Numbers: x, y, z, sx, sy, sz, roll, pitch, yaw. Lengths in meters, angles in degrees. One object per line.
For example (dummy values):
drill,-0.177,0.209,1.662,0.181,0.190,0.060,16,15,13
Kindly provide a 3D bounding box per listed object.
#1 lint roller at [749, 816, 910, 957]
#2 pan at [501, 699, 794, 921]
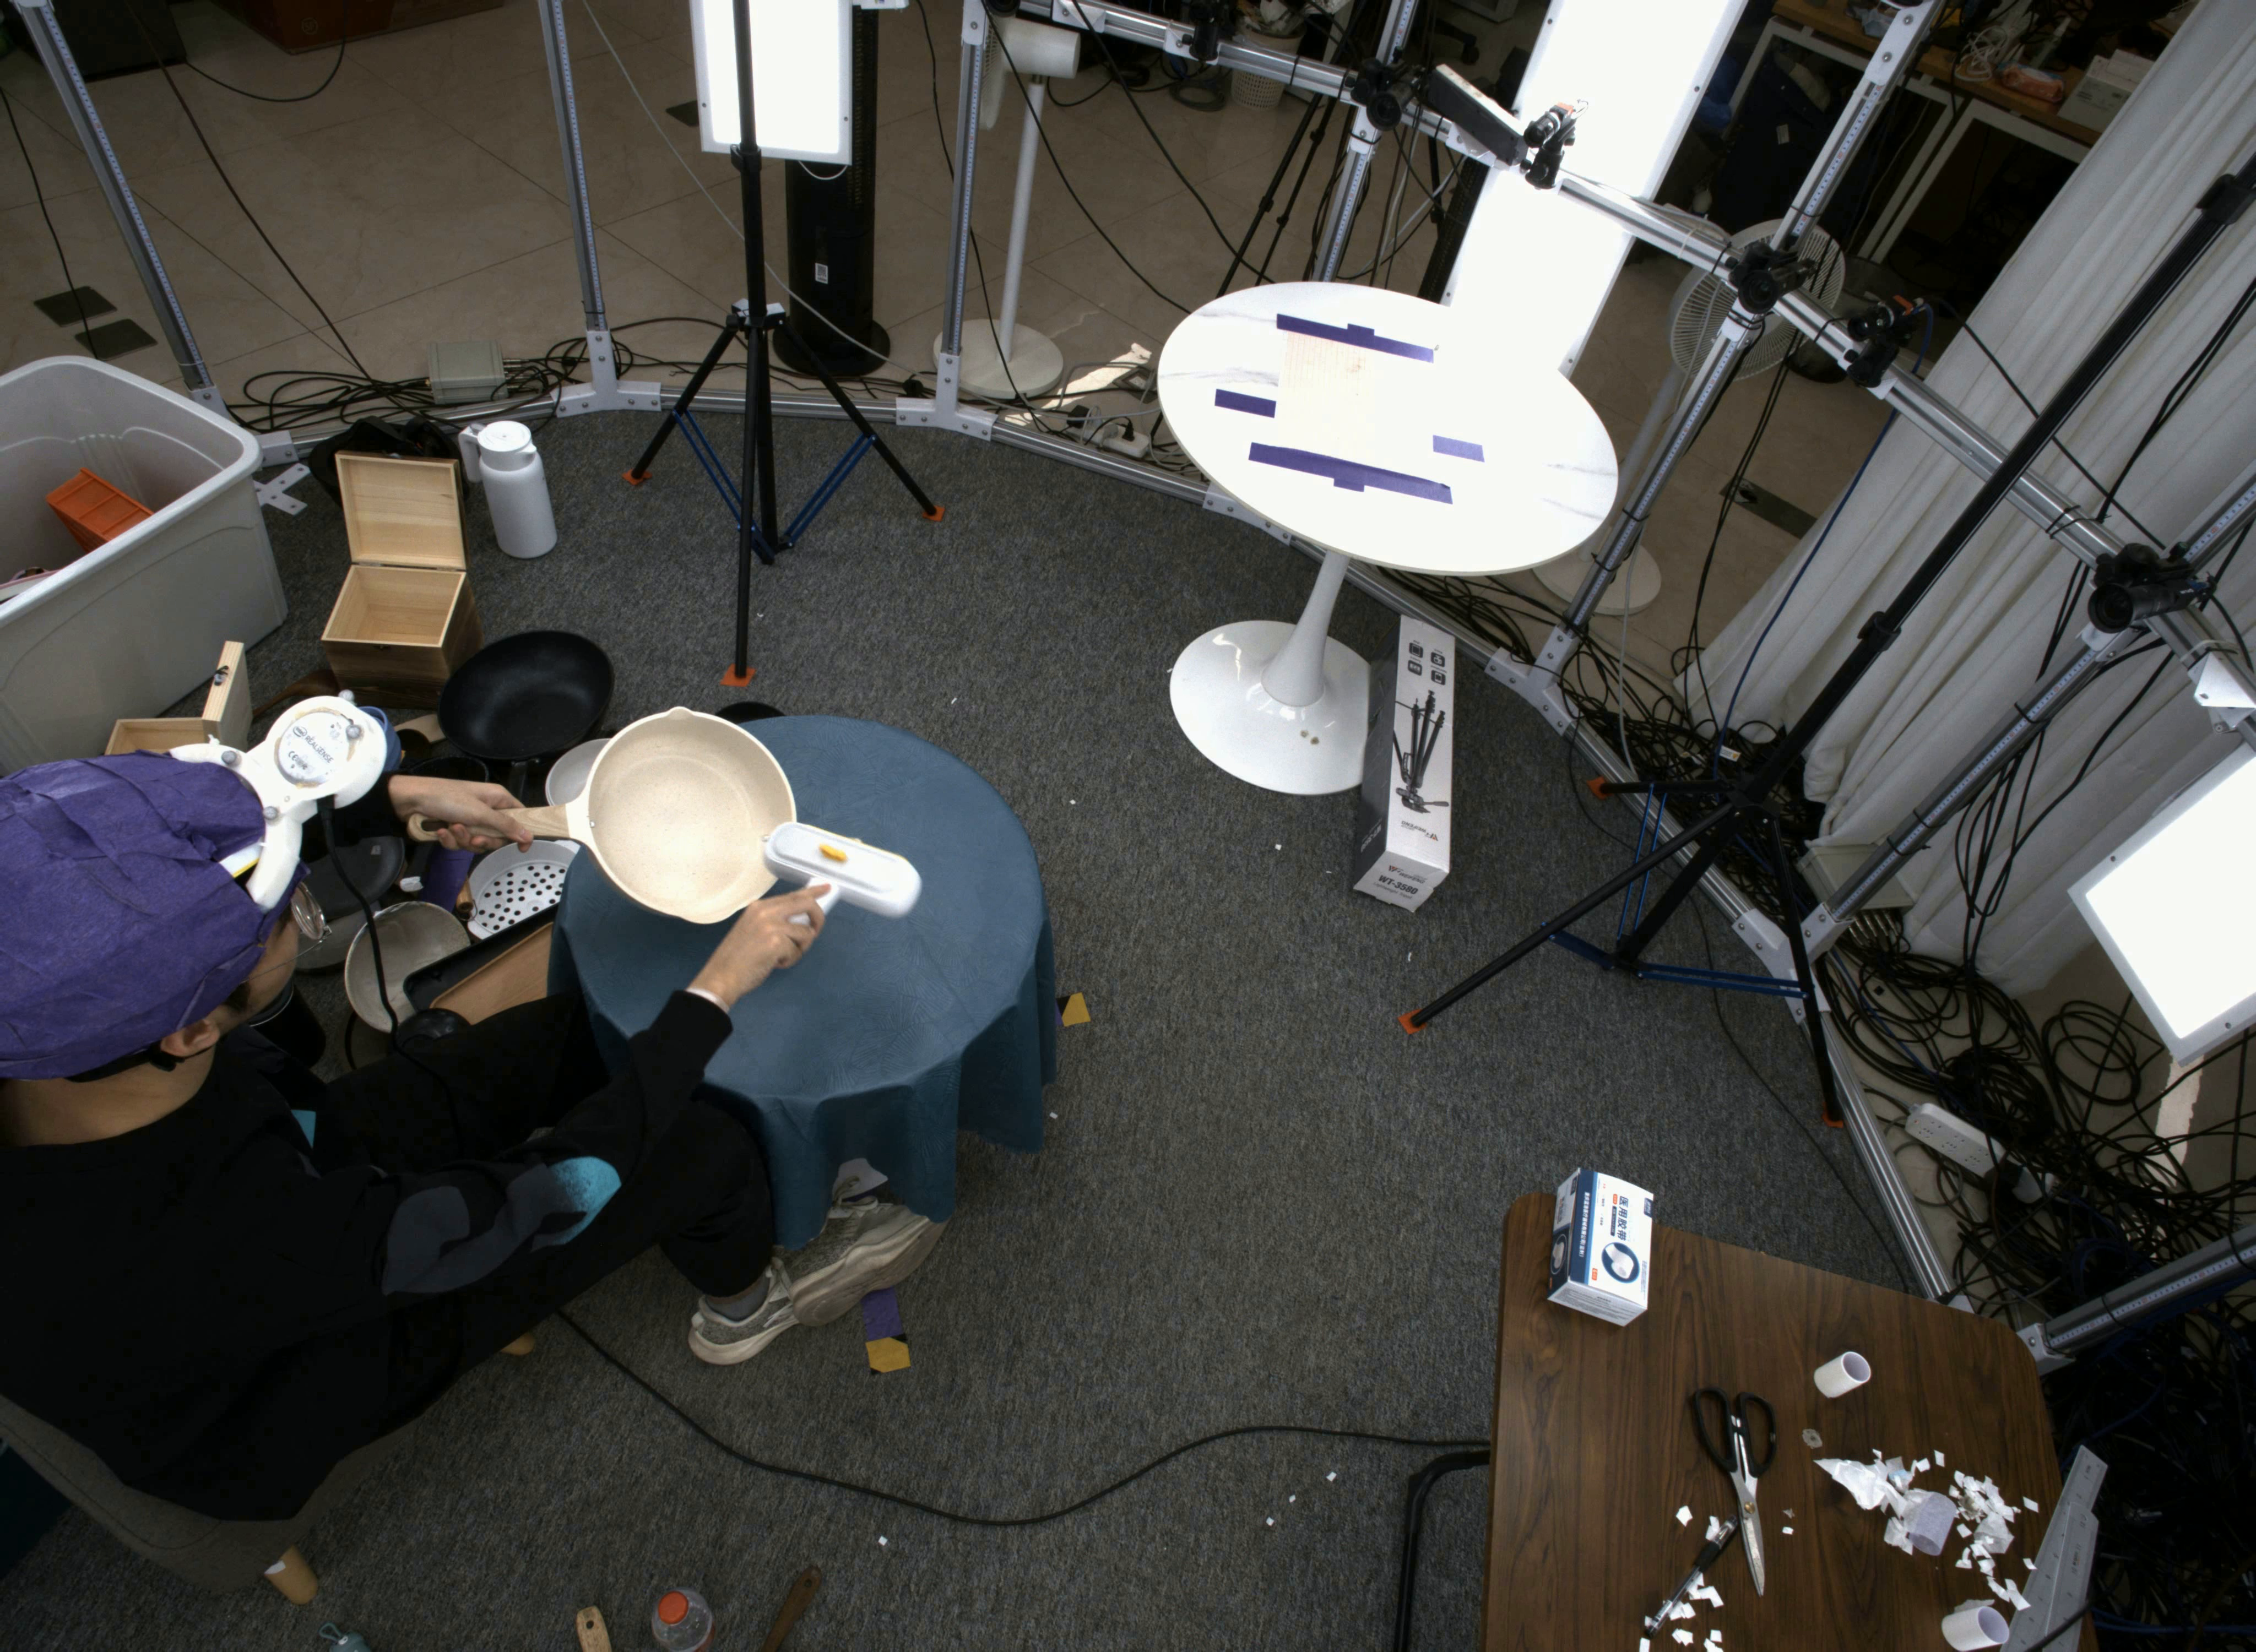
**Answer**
lint roller,-0.363,0.078,1.466,0.190,0.076,0.190,16,51,5
pan,-0.604,-0.008,1.479,0.441,0.100,0.265,-6,84,-37
